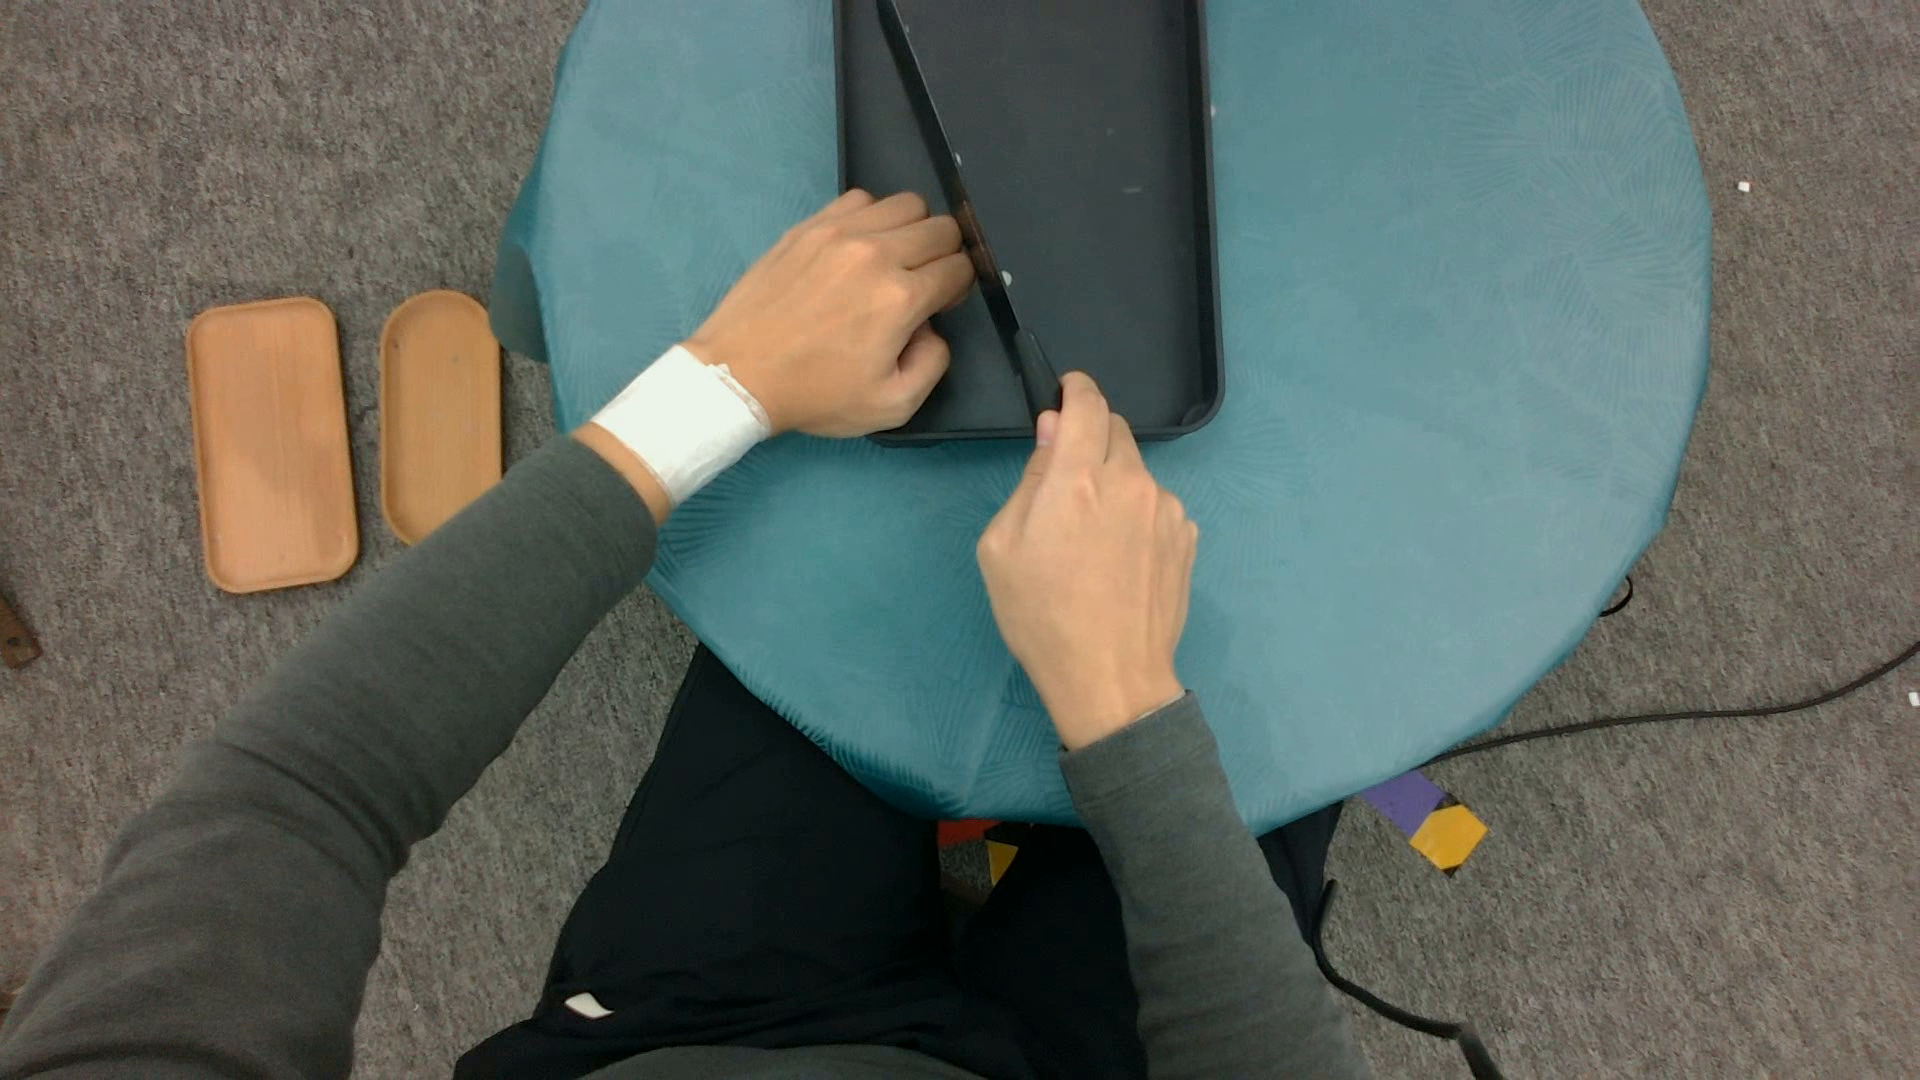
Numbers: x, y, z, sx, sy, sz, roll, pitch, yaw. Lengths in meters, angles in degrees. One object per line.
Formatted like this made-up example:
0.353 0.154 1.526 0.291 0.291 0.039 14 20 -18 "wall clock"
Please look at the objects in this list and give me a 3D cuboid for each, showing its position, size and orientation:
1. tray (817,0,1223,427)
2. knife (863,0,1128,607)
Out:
0.023 -0.216 0.682 0.184 0.037 0.318 -4 83 -5 "tray"
0.011 -0.113 0.611 0.021 0.081 0.302 -21 85 -3 "knife"
